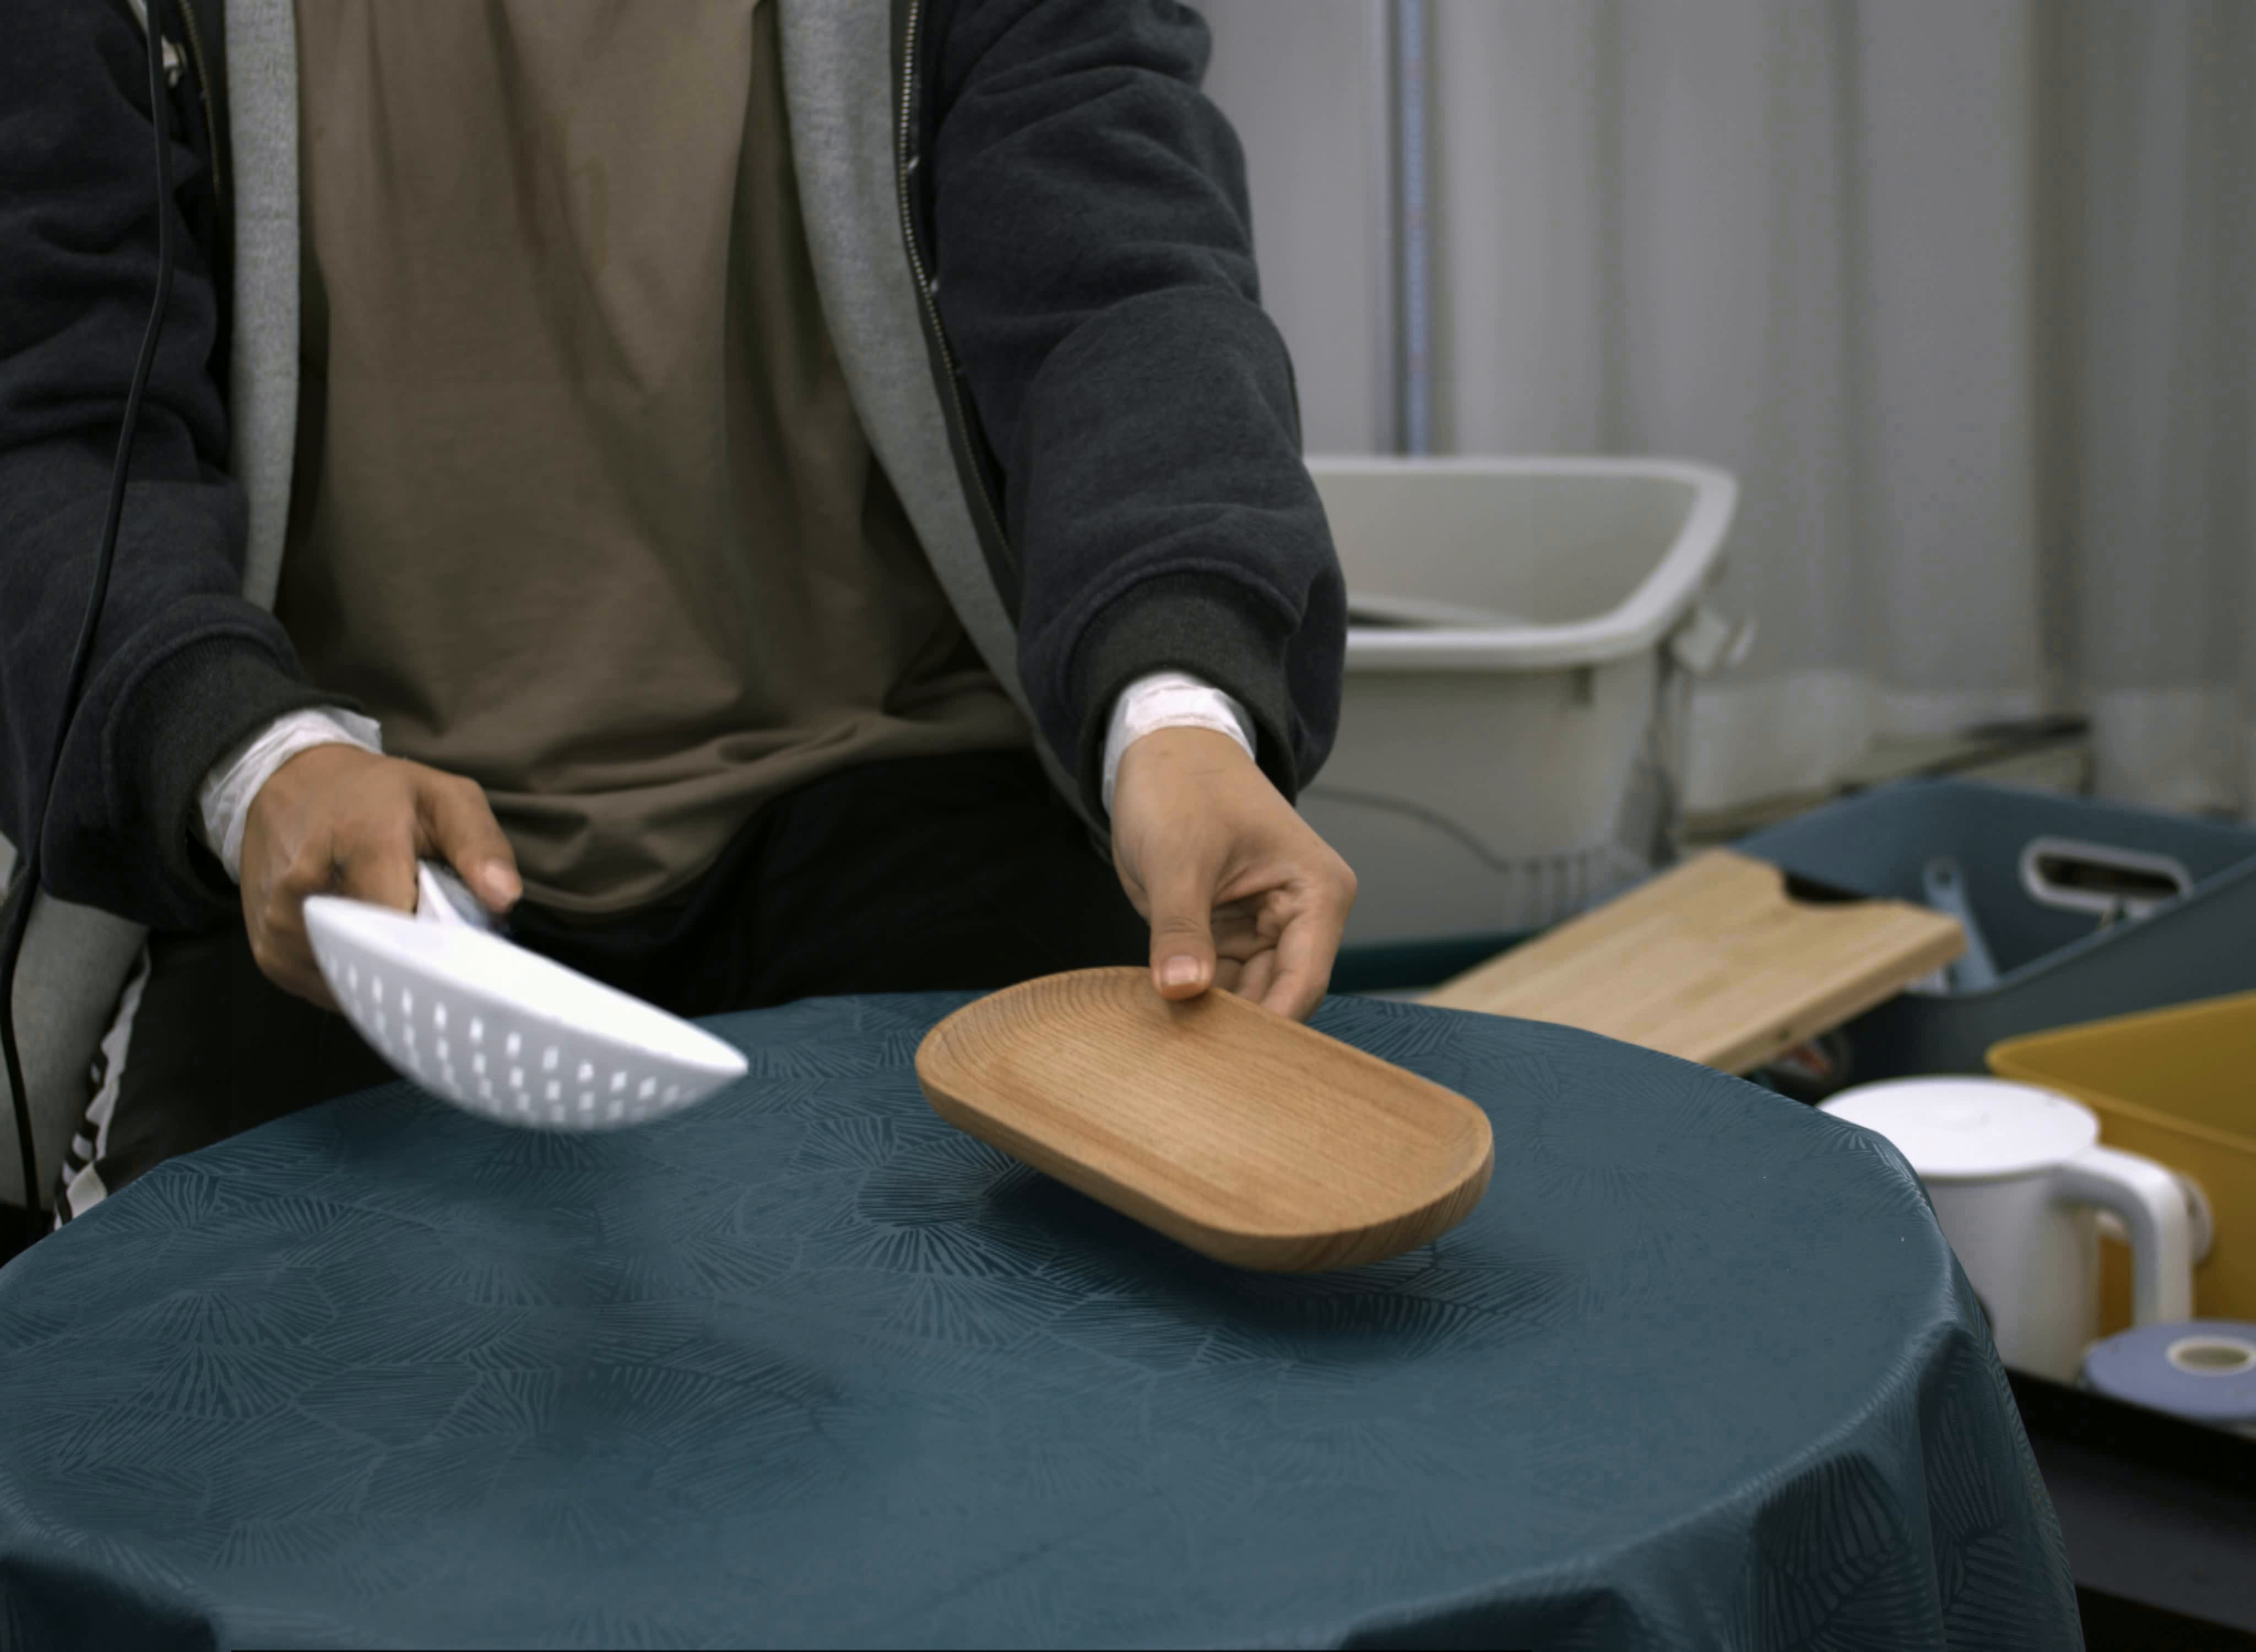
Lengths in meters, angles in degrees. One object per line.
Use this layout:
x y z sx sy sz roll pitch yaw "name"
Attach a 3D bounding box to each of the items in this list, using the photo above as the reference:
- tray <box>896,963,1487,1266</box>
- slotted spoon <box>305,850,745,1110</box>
0.017 0.086 1.665 0.101 0.020 0.233 -22 25 -31 "tray"
-0.198 0.035 1.673 0.135 0.046 0.352 22 5 -13 "slotted spoon"
